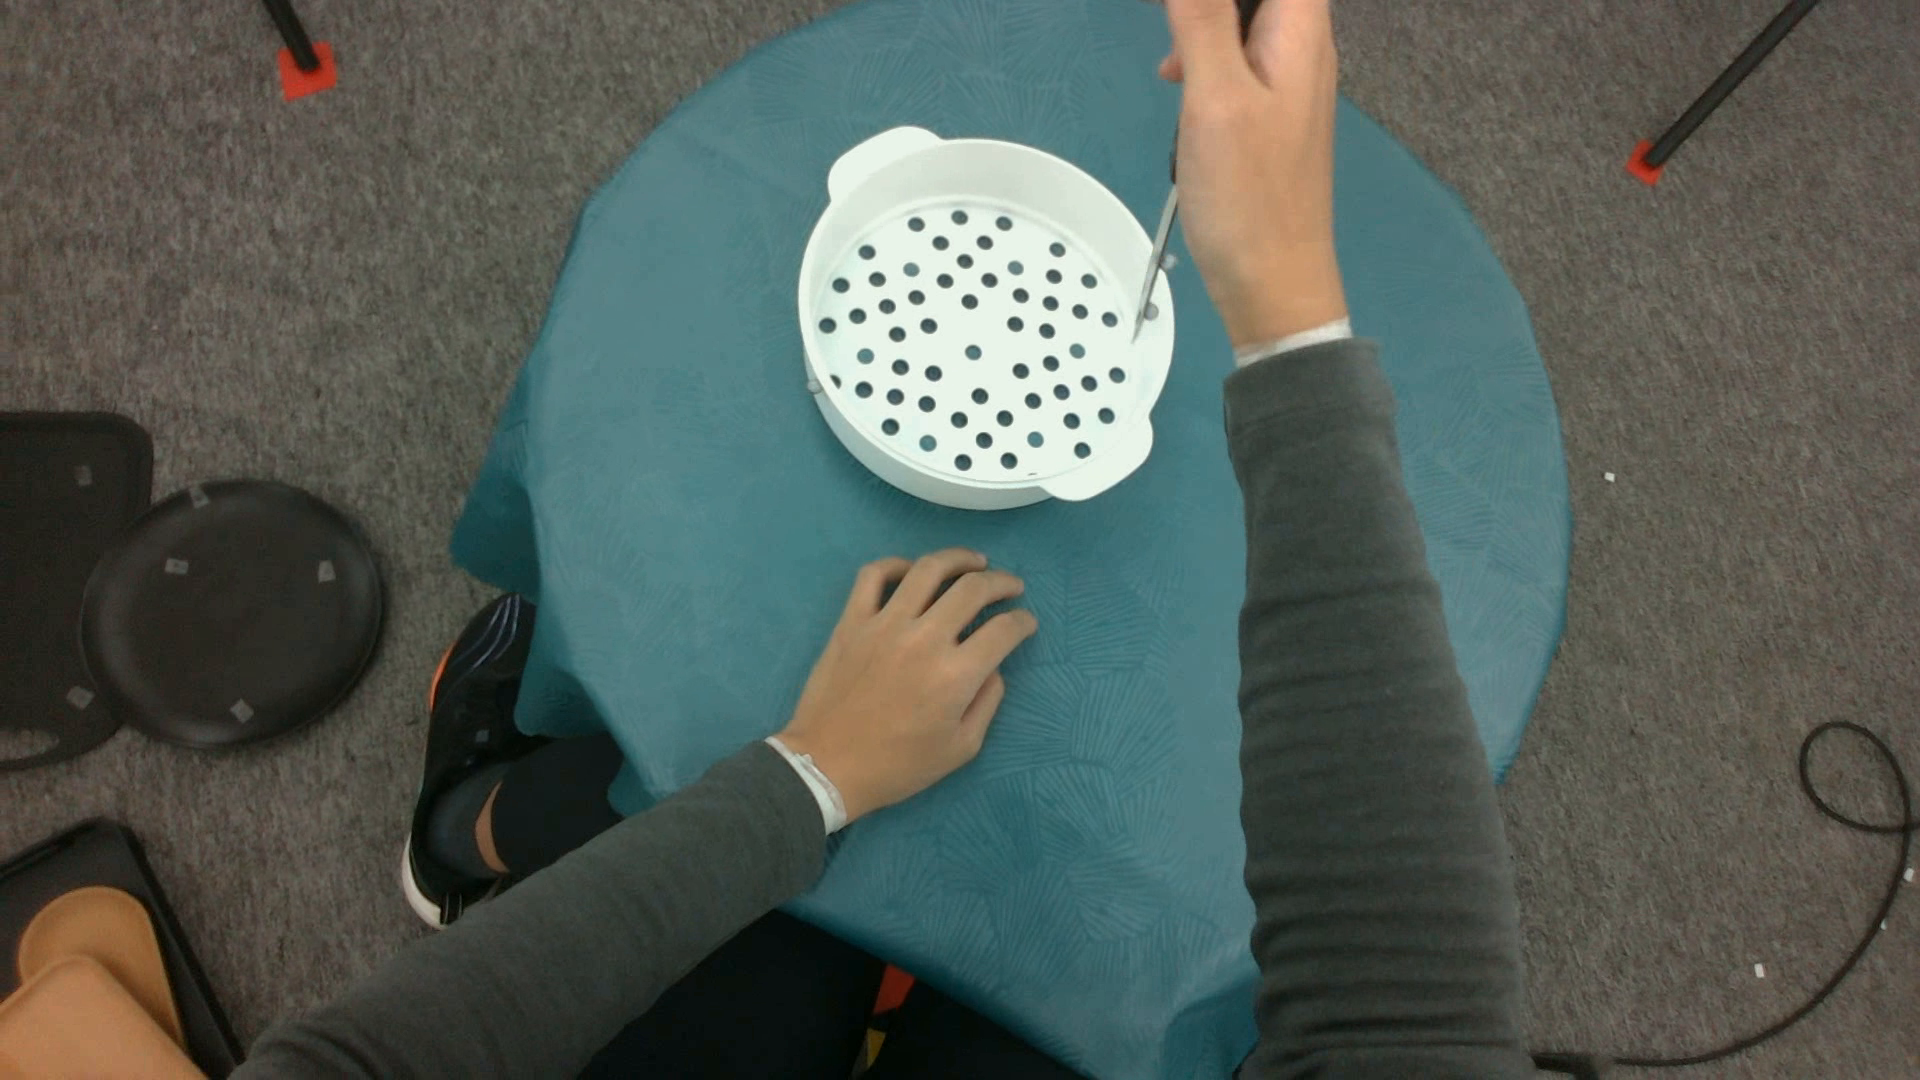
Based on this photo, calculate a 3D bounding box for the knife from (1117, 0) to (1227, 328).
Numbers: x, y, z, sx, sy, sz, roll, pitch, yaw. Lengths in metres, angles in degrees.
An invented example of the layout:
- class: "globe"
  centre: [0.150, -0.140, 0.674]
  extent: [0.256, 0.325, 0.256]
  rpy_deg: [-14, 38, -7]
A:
- class: "knife"
  centre: [0.084, -0.154, 0.574]
  extent: [0.016, 0.237, 0.024]
  rpy_deg: [2, 65, -2]

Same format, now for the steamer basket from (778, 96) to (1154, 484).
- class: "steamer basket"
  centre: [0.001, -0.129, 0.751]
  extent: [0.202, 0.069, 0.230]
  rpy_deg: [-32, 83, -16]
